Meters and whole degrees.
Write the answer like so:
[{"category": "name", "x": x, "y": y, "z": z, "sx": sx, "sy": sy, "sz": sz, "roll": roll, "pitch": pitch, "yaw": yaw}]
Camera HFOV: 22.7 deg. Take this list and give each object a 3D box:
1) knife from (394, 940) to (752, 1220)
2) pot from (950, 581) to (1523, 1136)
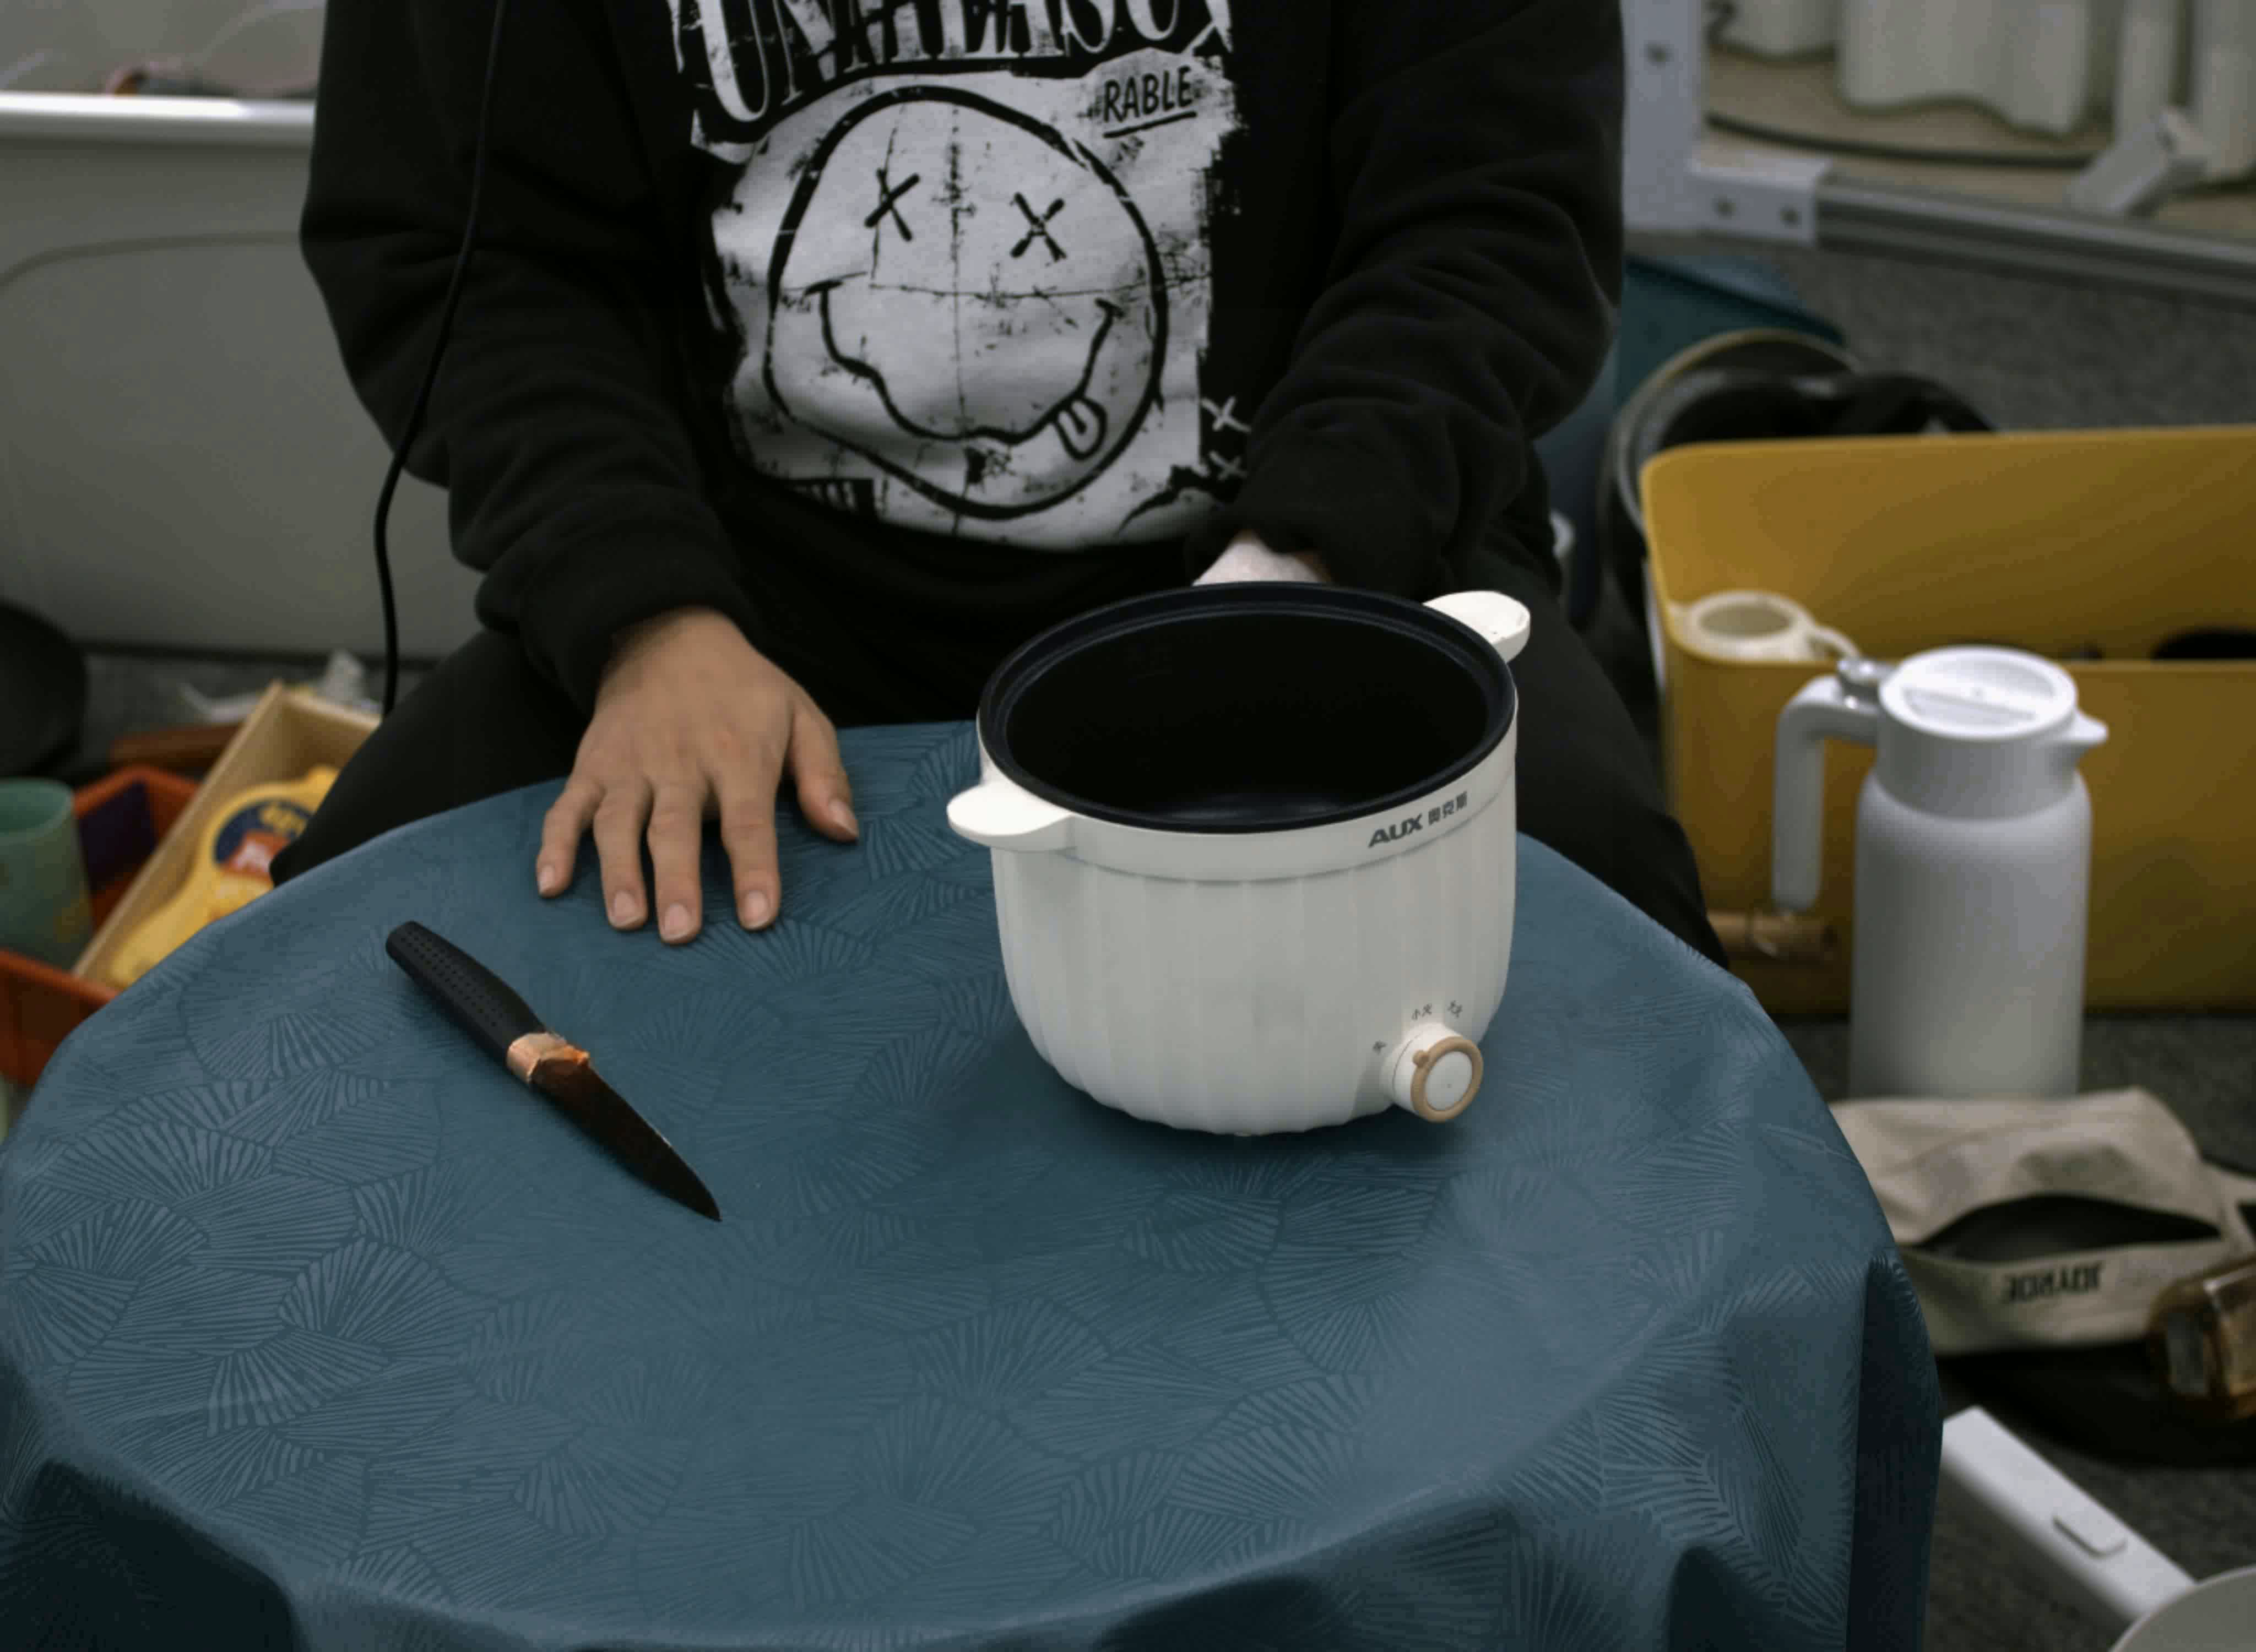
[{"category": "knife", "x": -0.194, "y": 0.088, "z": 1.934, "sx": 0.026, "sy": 0.017, "sz": 0.226, "roll": -4, "pitch": 24, "yaw": -36}, {"category": "pot", "x": 0.047, "y": 0.016, "z": 1.909, "sx": 0.243, "sy": 0.141, "sz": 0.190, "roll": -24, "pitch": 30, "yaw": -33}]
